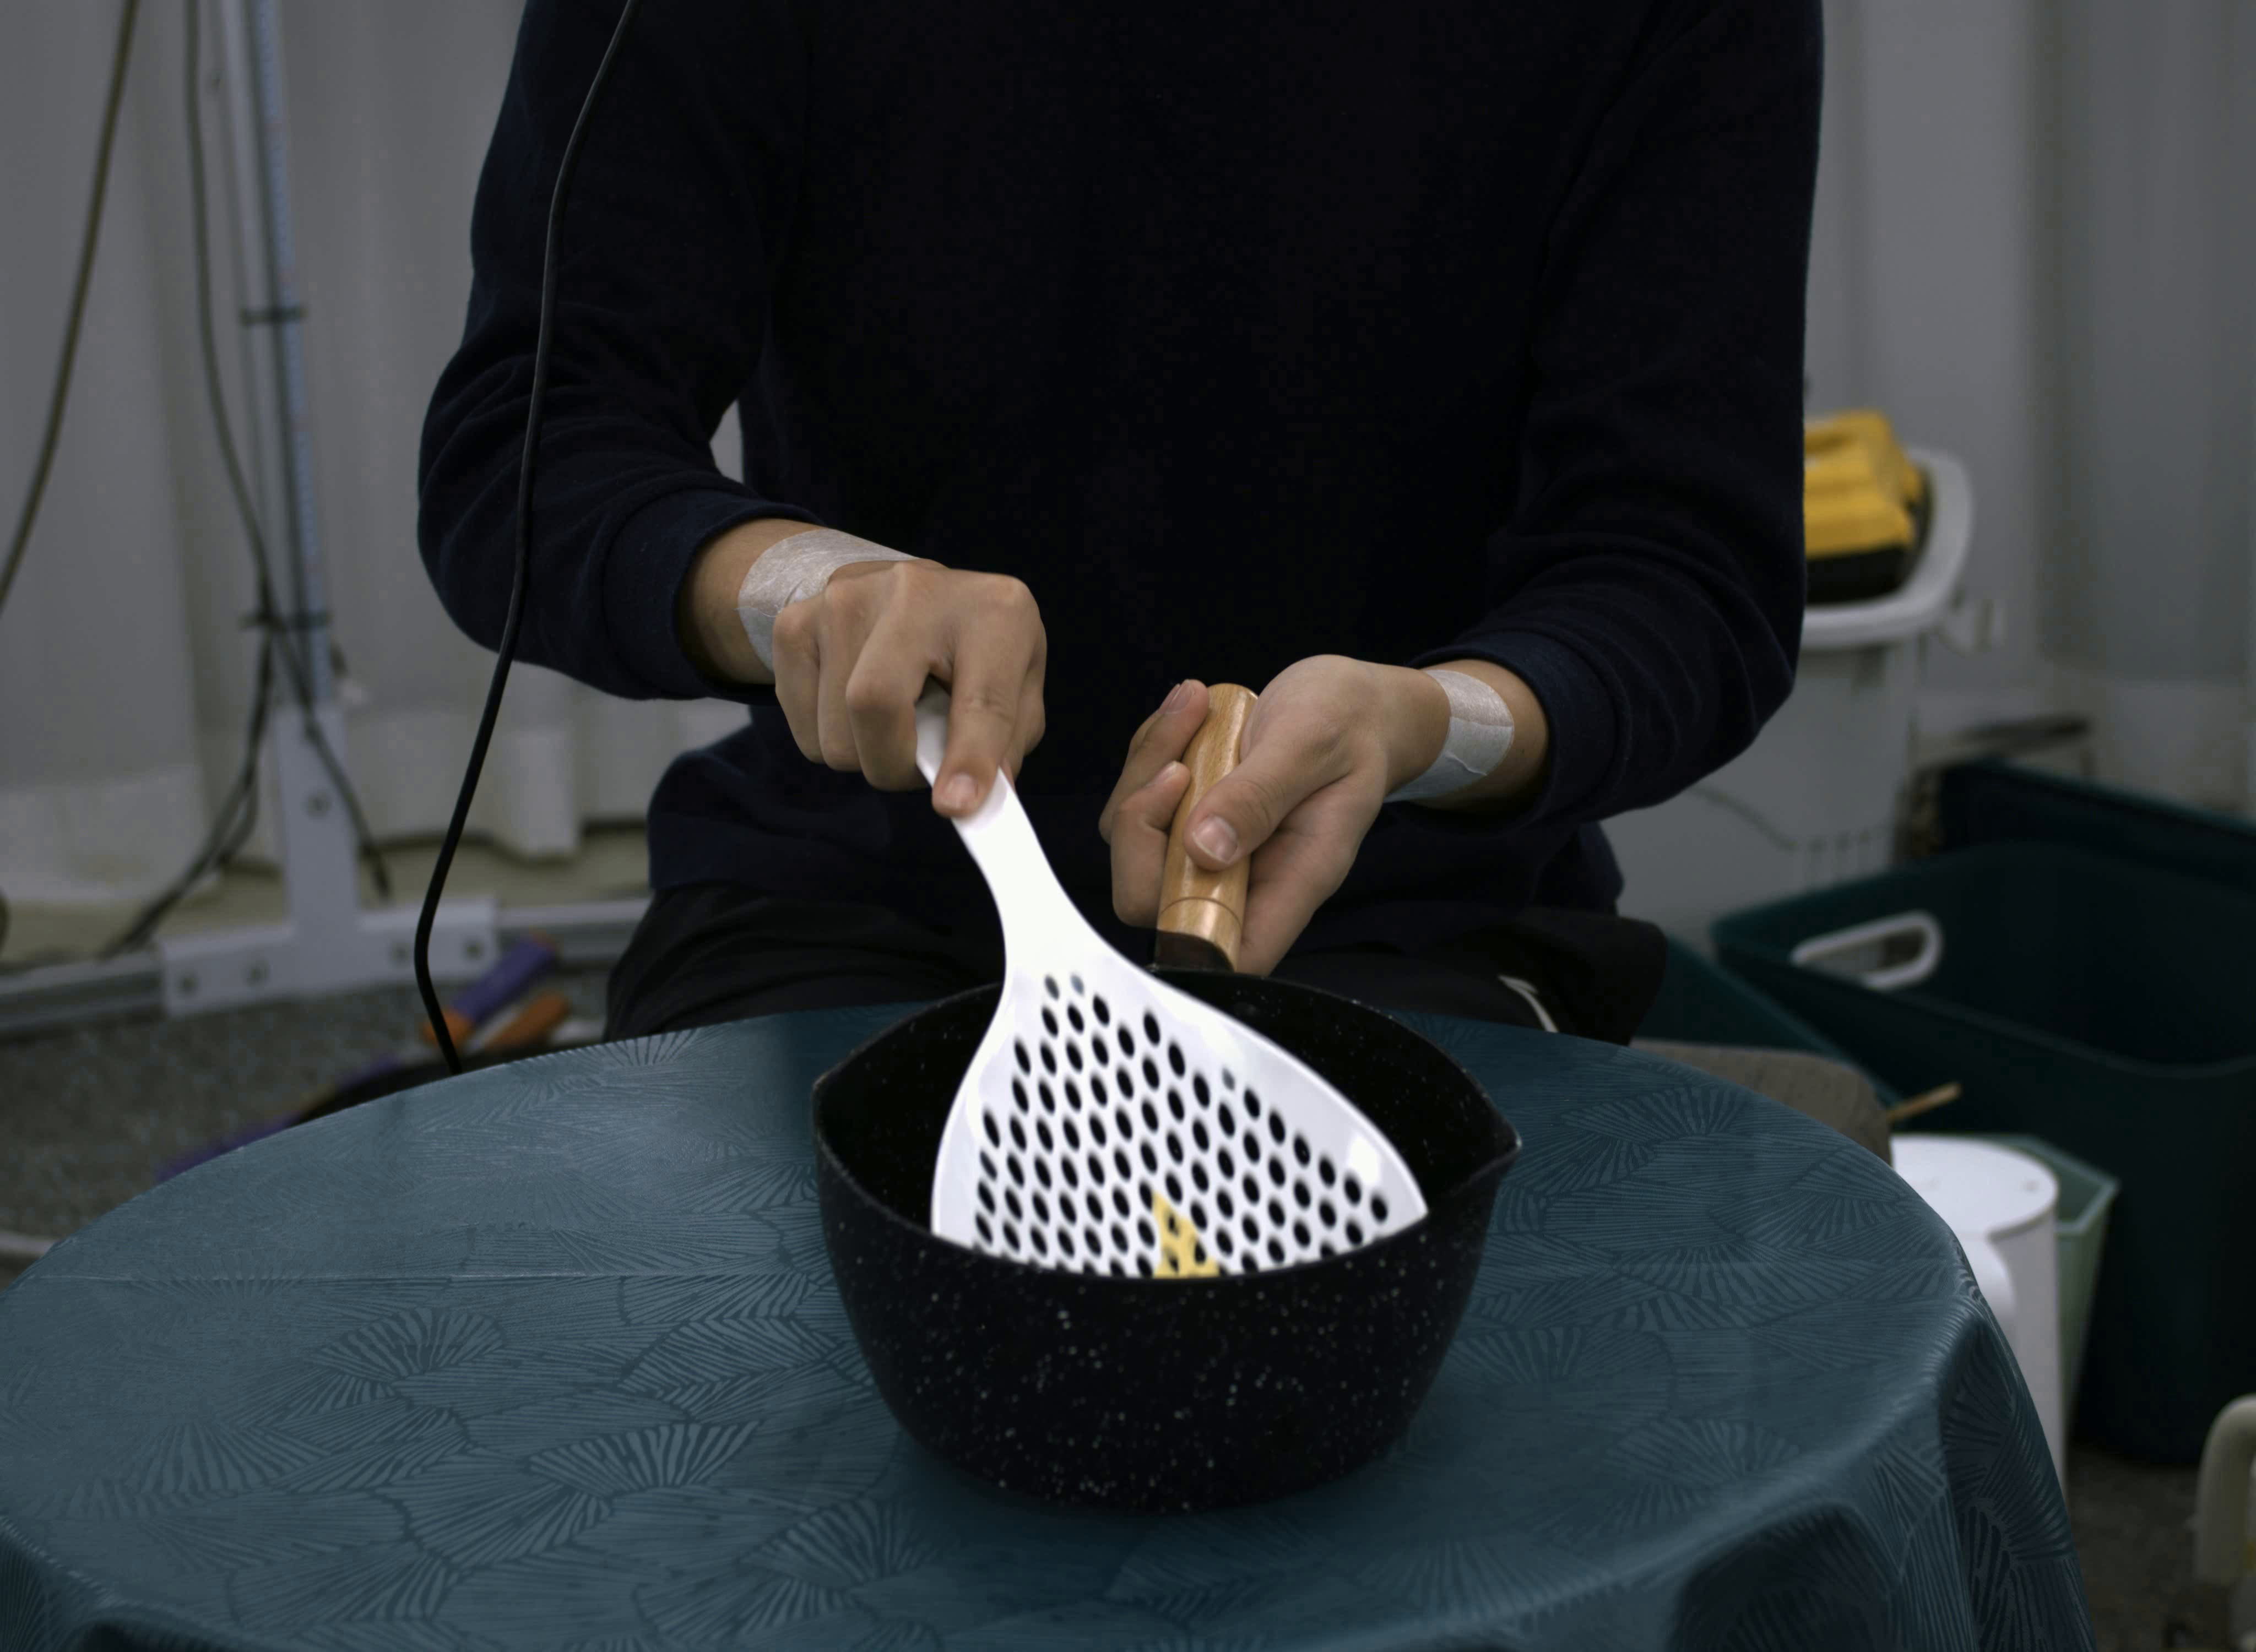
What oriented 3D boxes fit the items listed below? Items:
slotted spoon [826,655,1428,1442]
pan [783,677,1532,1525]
[{"bbox_3d":[-0.022,0.051,1.563,0.136,0.049,0.353,-15,48,-12],"label":"slotted spoon"},{"bbox_3d":[0.013,0.073,1.572,0.207,0.107,0.346,1,25,5],"label":"pan"}]
